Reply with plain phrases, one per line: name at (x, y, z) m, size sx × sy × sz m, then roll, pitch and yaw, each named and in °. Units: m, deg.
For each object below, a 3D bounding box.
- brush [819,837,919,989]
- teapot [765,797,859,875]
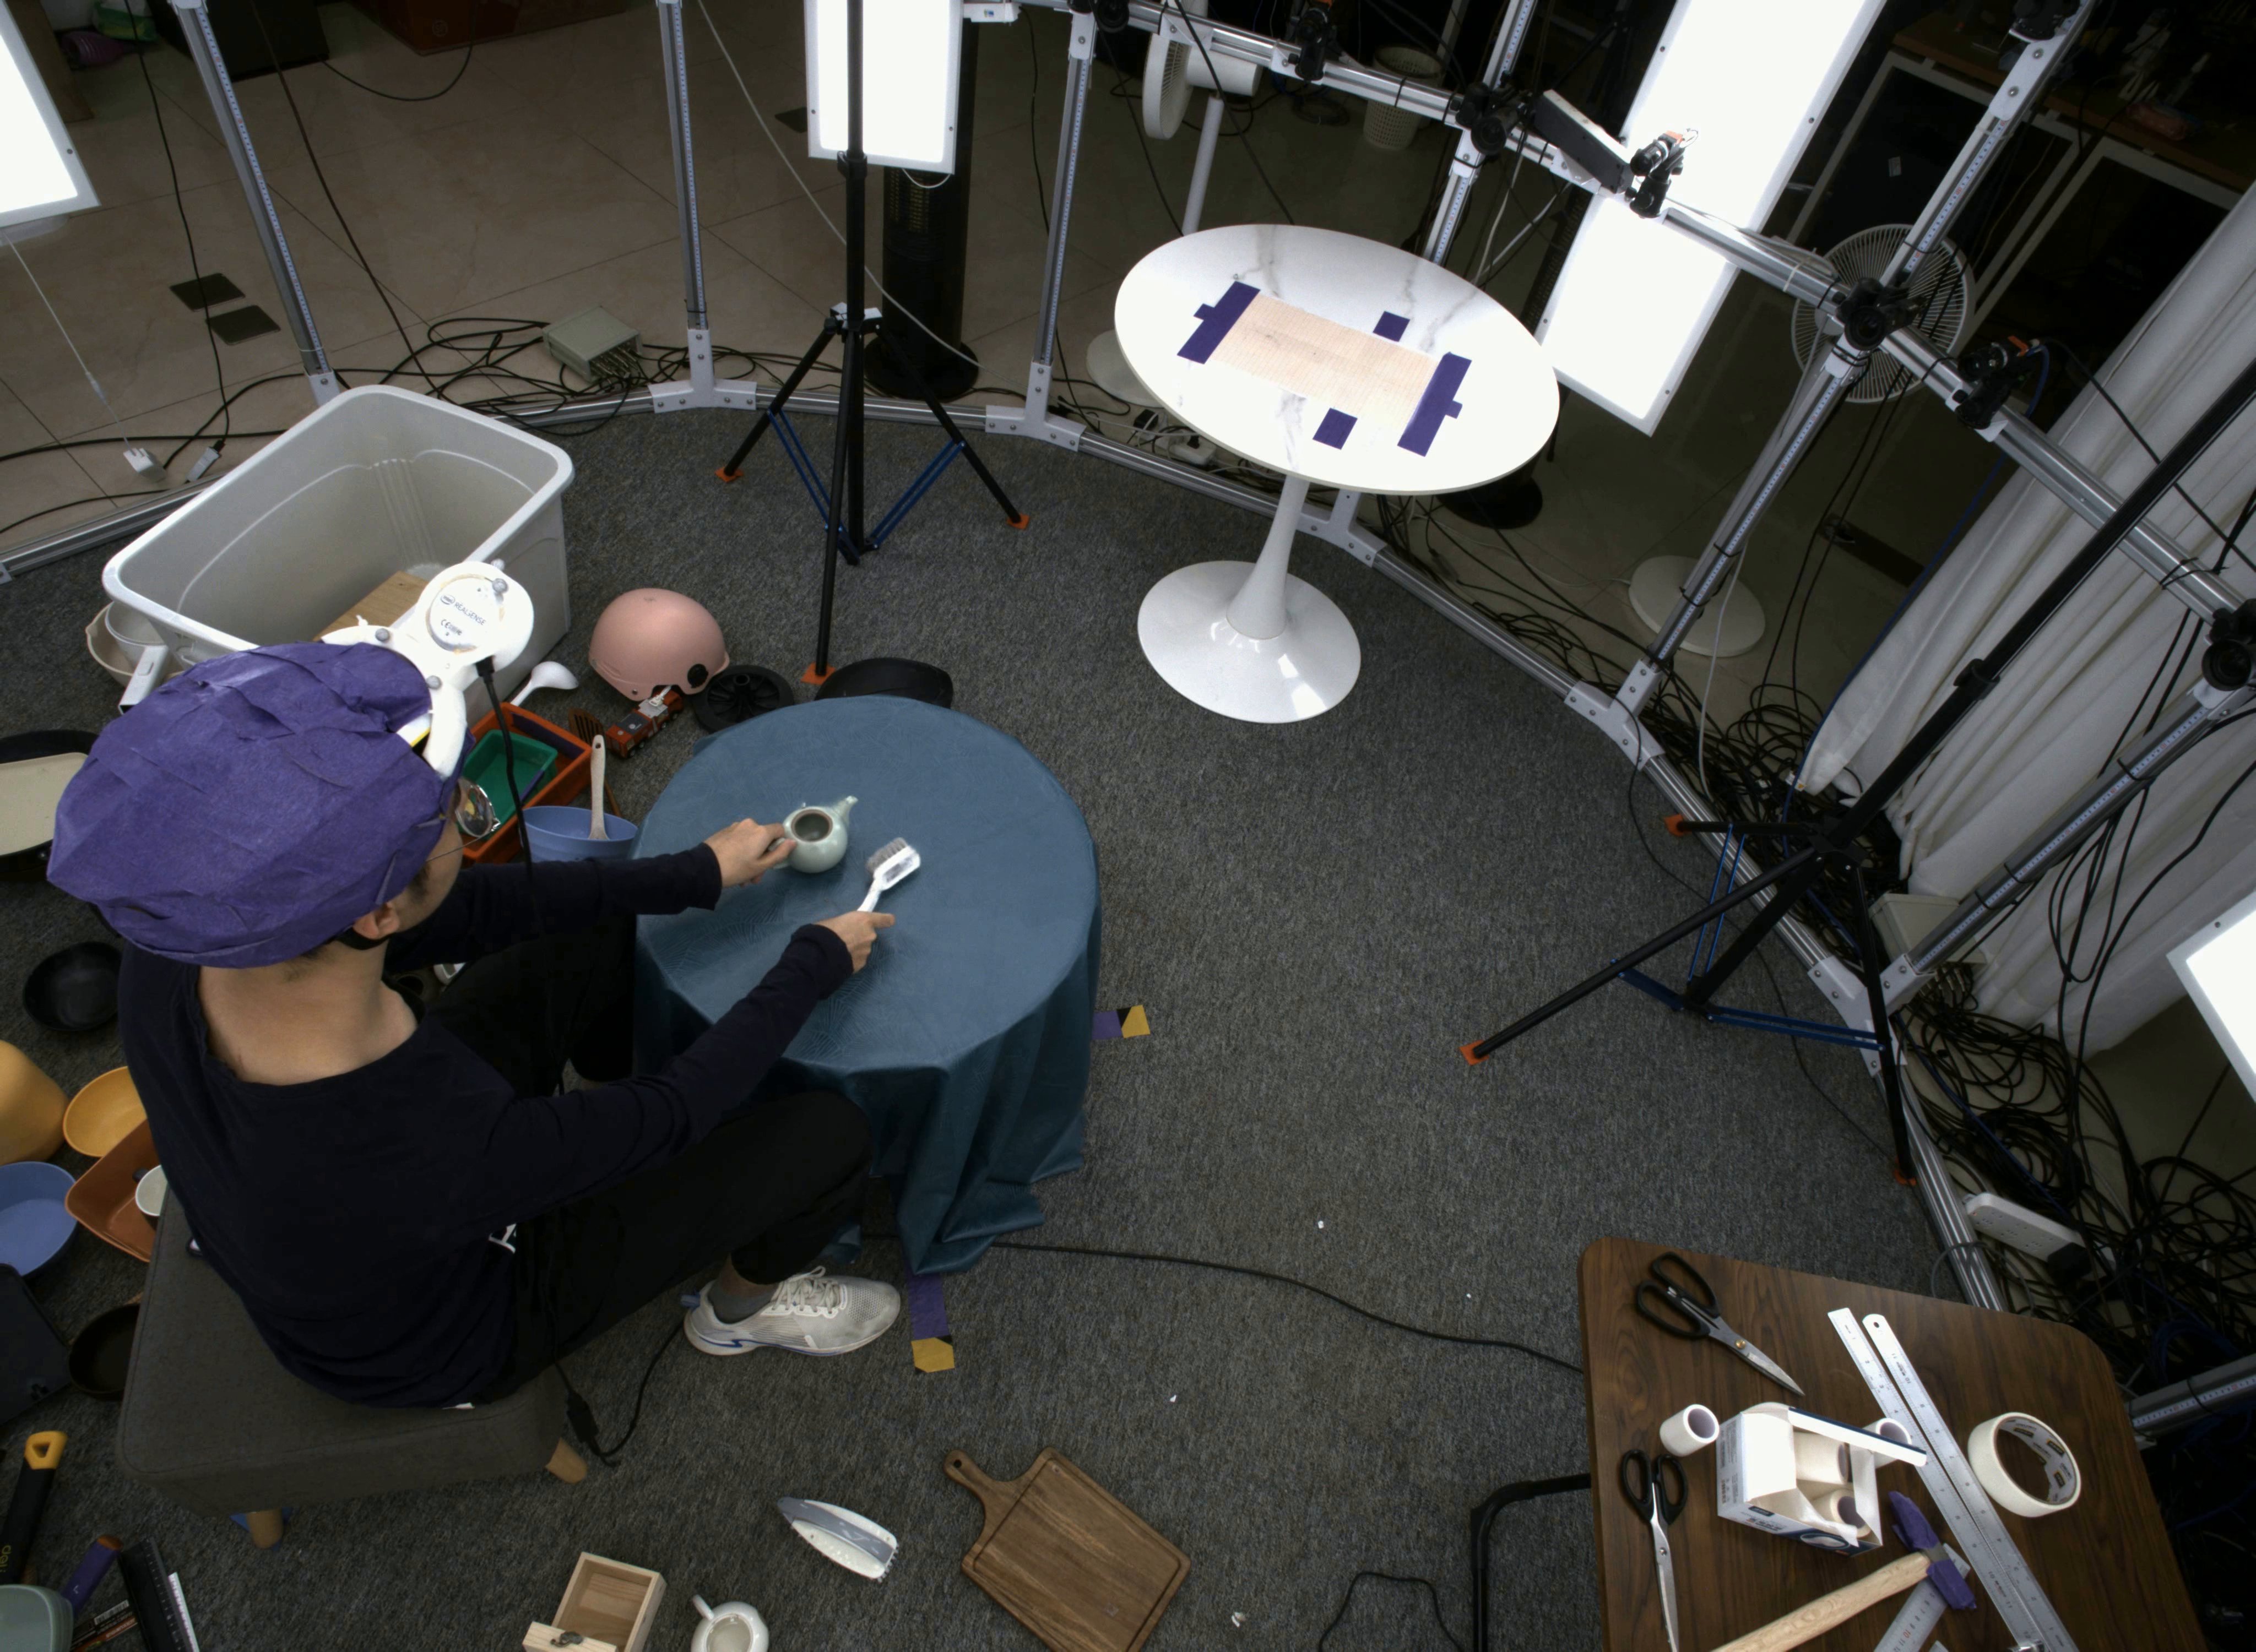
brush at (-0.338, 0.104, 1.636) m, size 0.049 × 0.035 × 0.242 m, roll 16°, pitch 49°, yaw 17°
teapot at (-0.406, 0.017, 1.671) m, size 0.144 × 0.076 × 0.086 m, roll -34°, pitch 67°, yaw -33°
